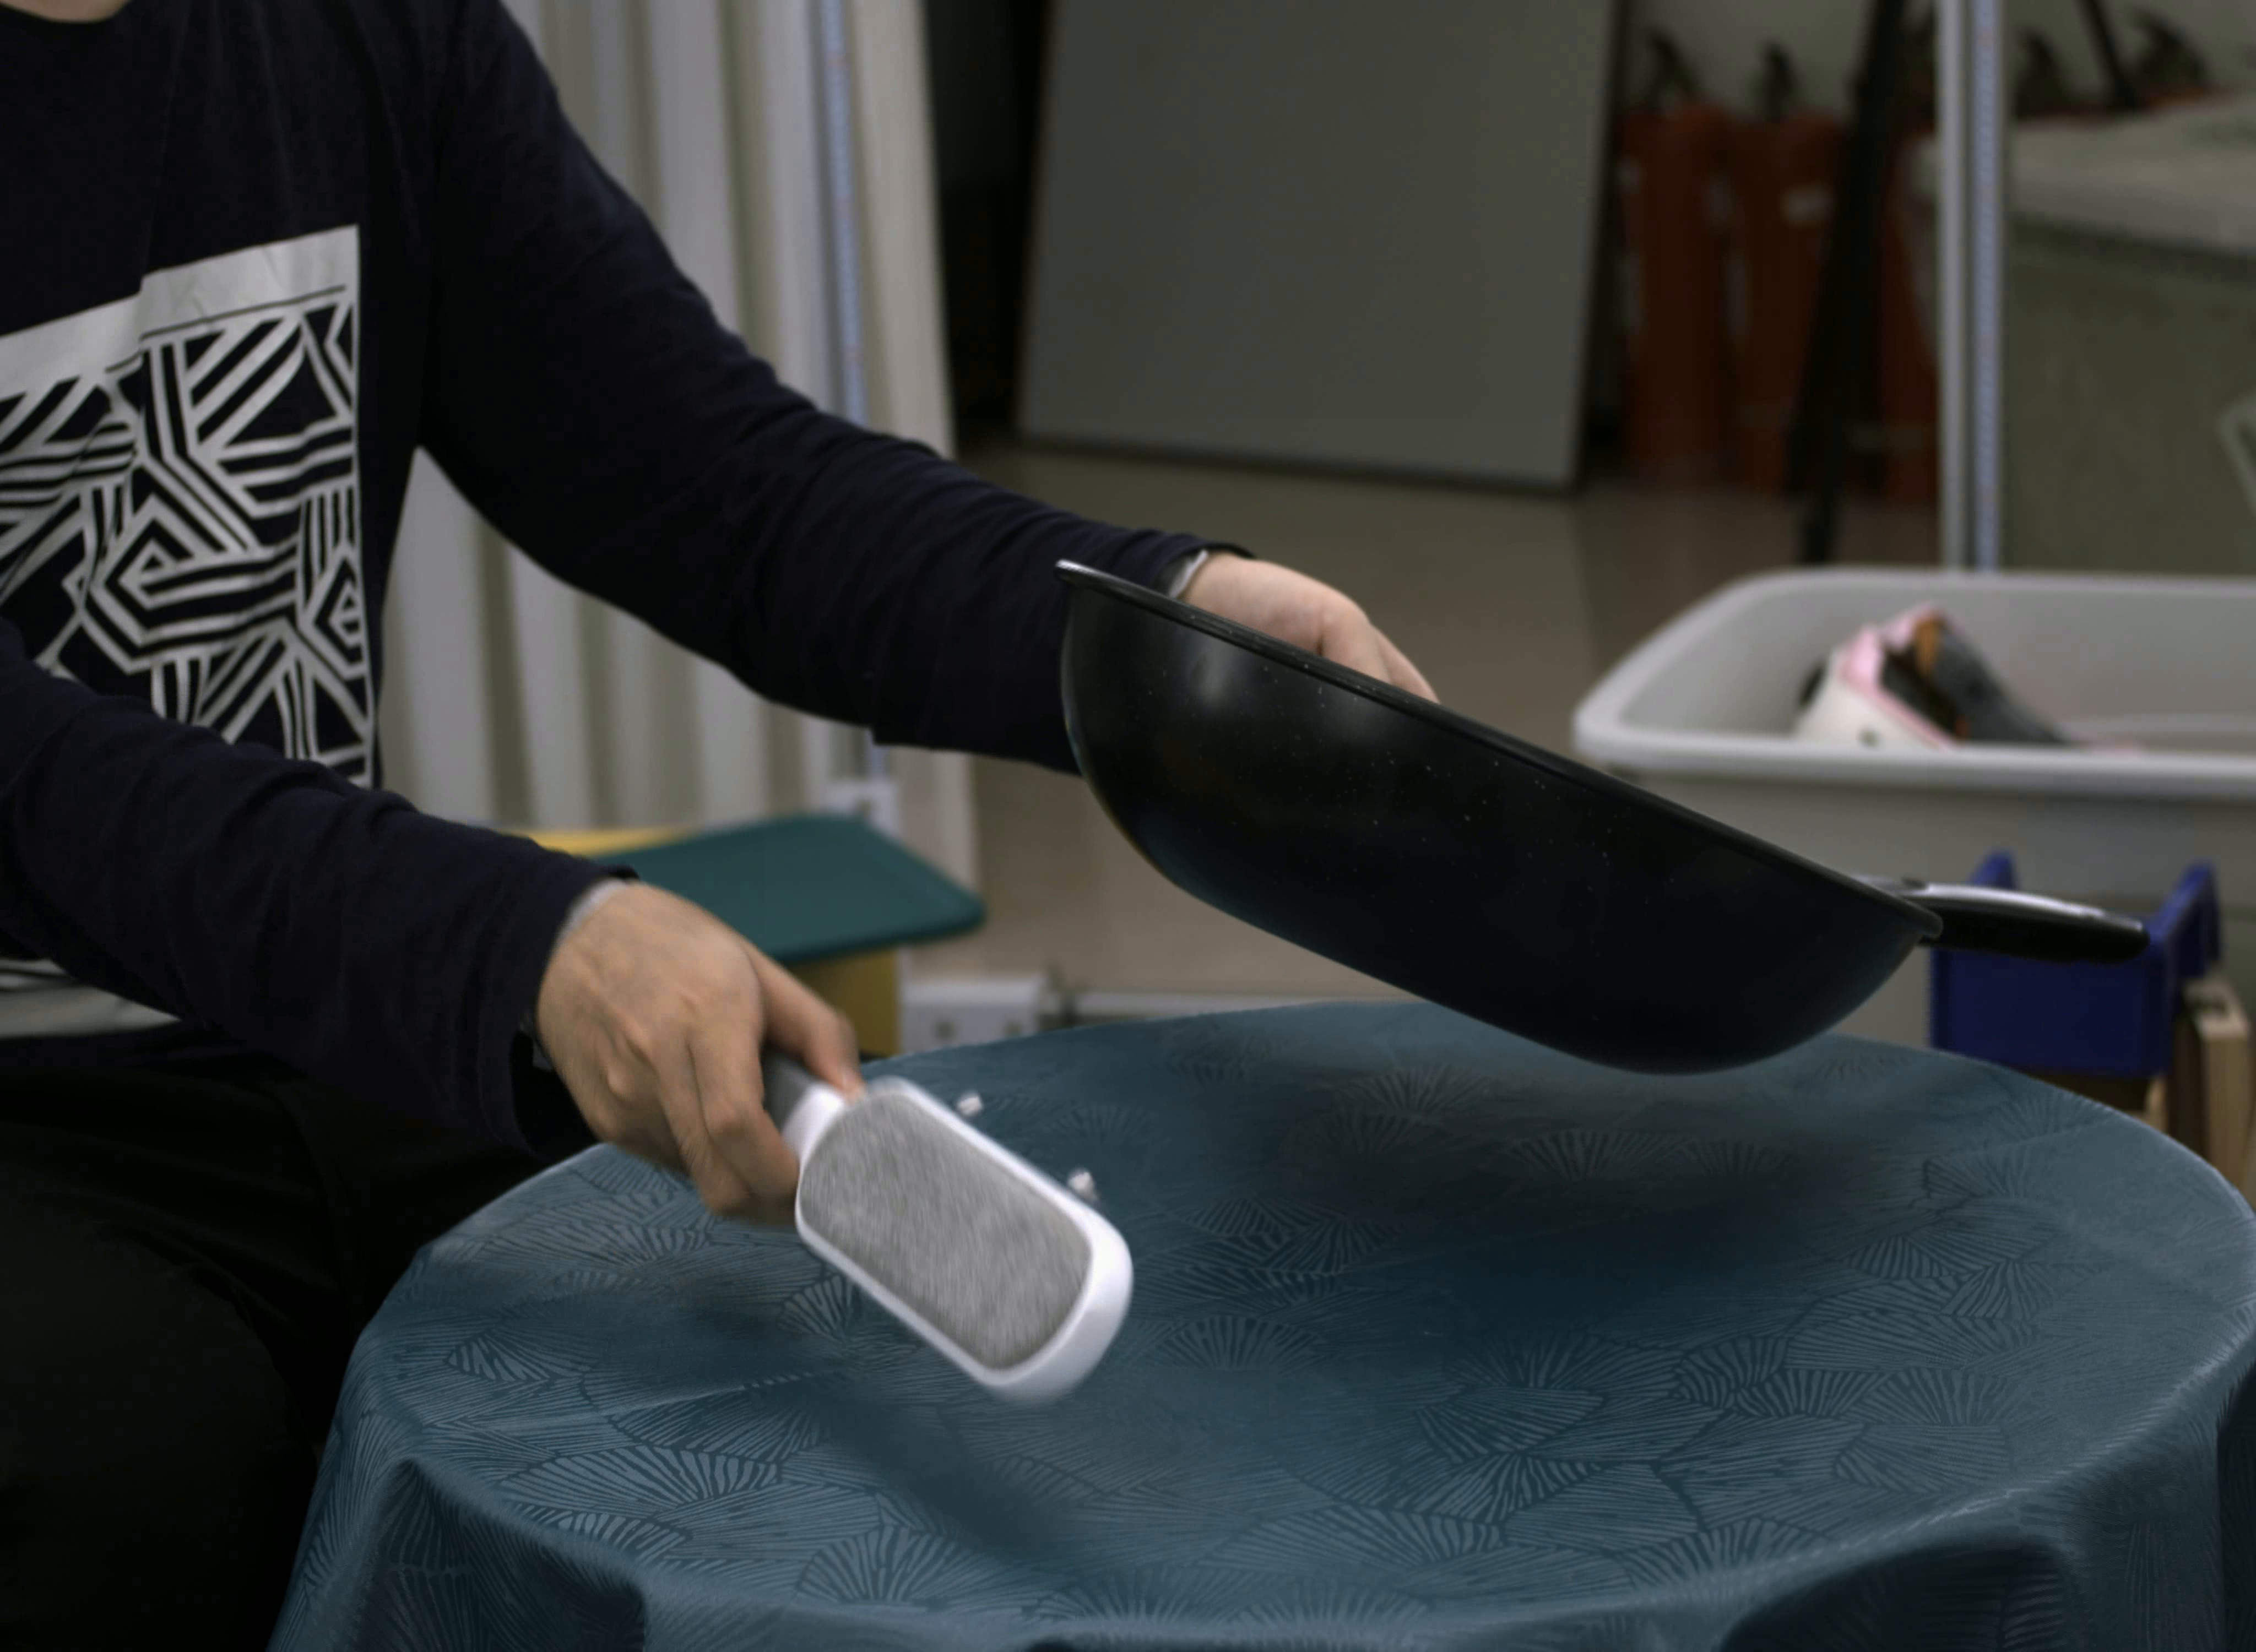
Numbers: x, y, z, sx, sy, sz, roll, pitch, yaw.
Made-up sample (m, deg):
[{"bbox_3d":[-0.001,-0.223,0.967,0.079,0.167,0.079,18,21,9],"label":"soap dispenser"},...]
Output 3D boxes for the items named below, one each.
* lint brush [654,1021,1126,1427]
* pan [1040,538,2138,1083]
[{"bbox_3d":[-0.077,0.108,1.597,0.020,0.060,0.312,34,-3,-29],"label":"lint brush"},{"bbox_3d":[0.162,0.023,1.770,0.467,0.112,0.314,22,2,-38],"label":"pan"}]
